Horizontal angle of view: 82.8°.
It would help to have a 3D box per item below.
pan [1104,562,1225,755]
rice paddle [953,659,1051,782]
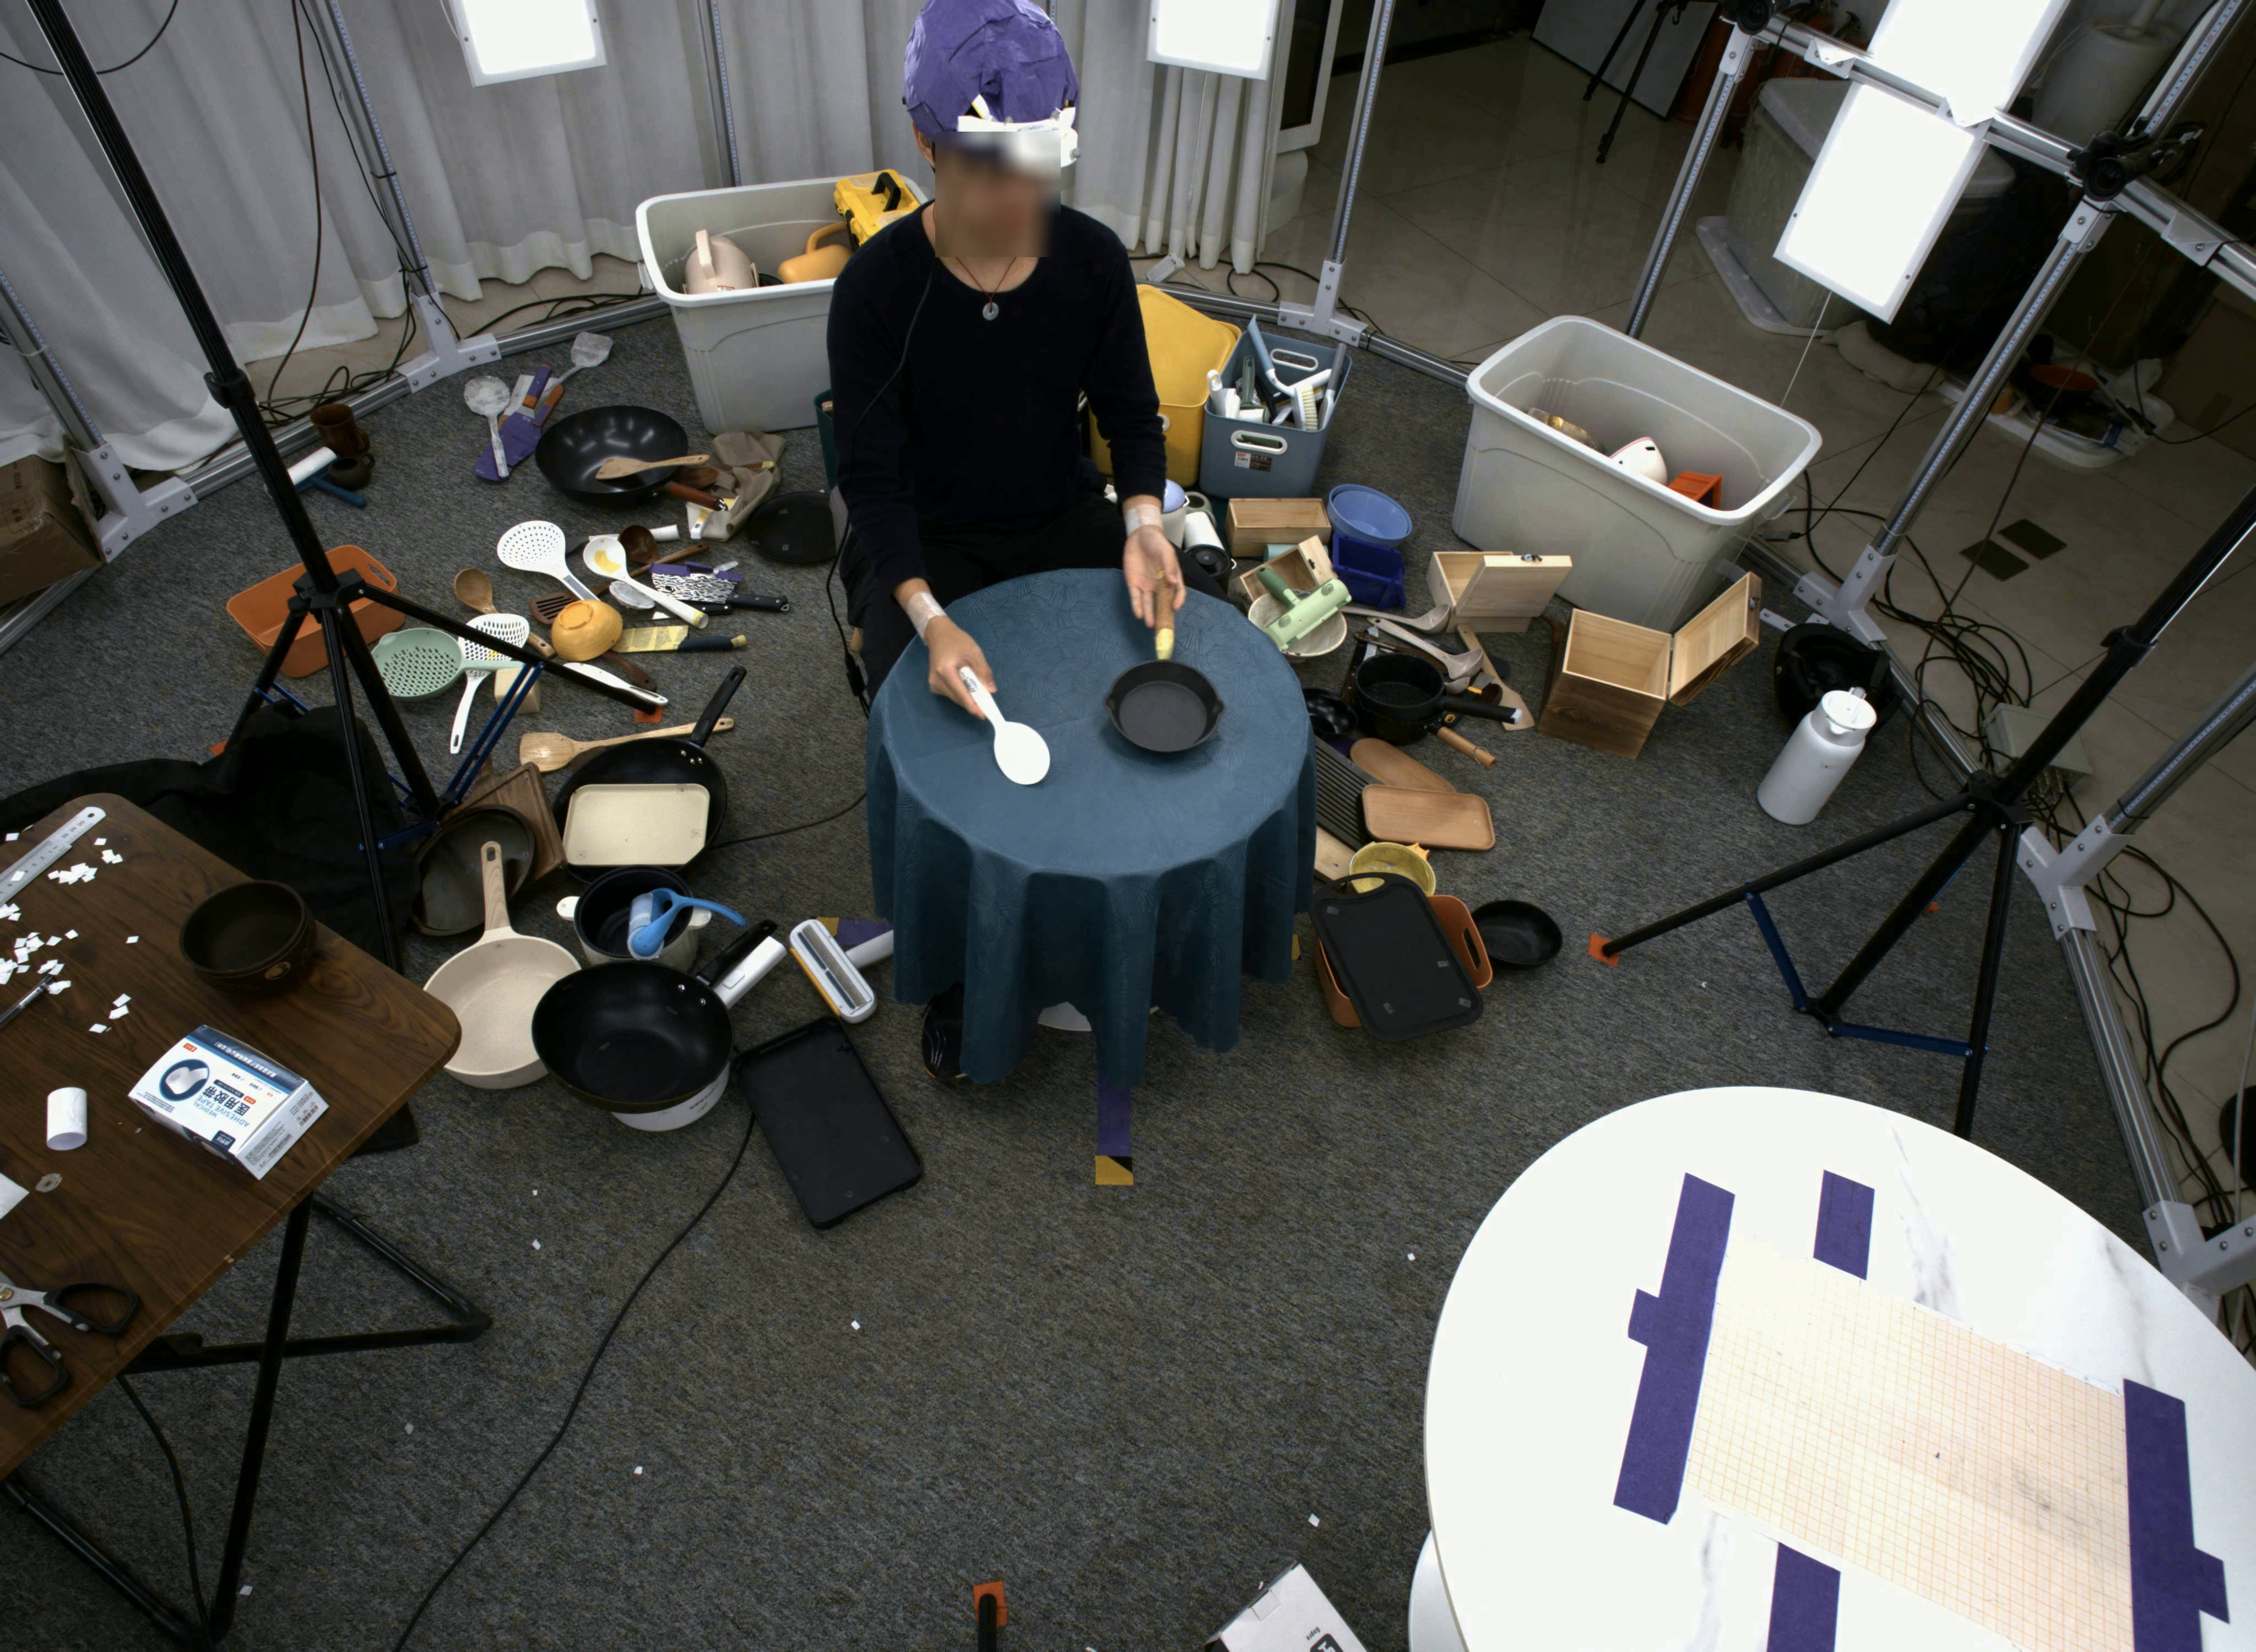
[{"bbox_3d":[0.056,-0.237,1.819,0.169,0.048,0.331,5,59,0],"label":"pan"},{"bbox_3d":[-0.171,-0.143,1.737,0.068,0.029,0.208,-39,68,7],"label":"rice paddle"}]
